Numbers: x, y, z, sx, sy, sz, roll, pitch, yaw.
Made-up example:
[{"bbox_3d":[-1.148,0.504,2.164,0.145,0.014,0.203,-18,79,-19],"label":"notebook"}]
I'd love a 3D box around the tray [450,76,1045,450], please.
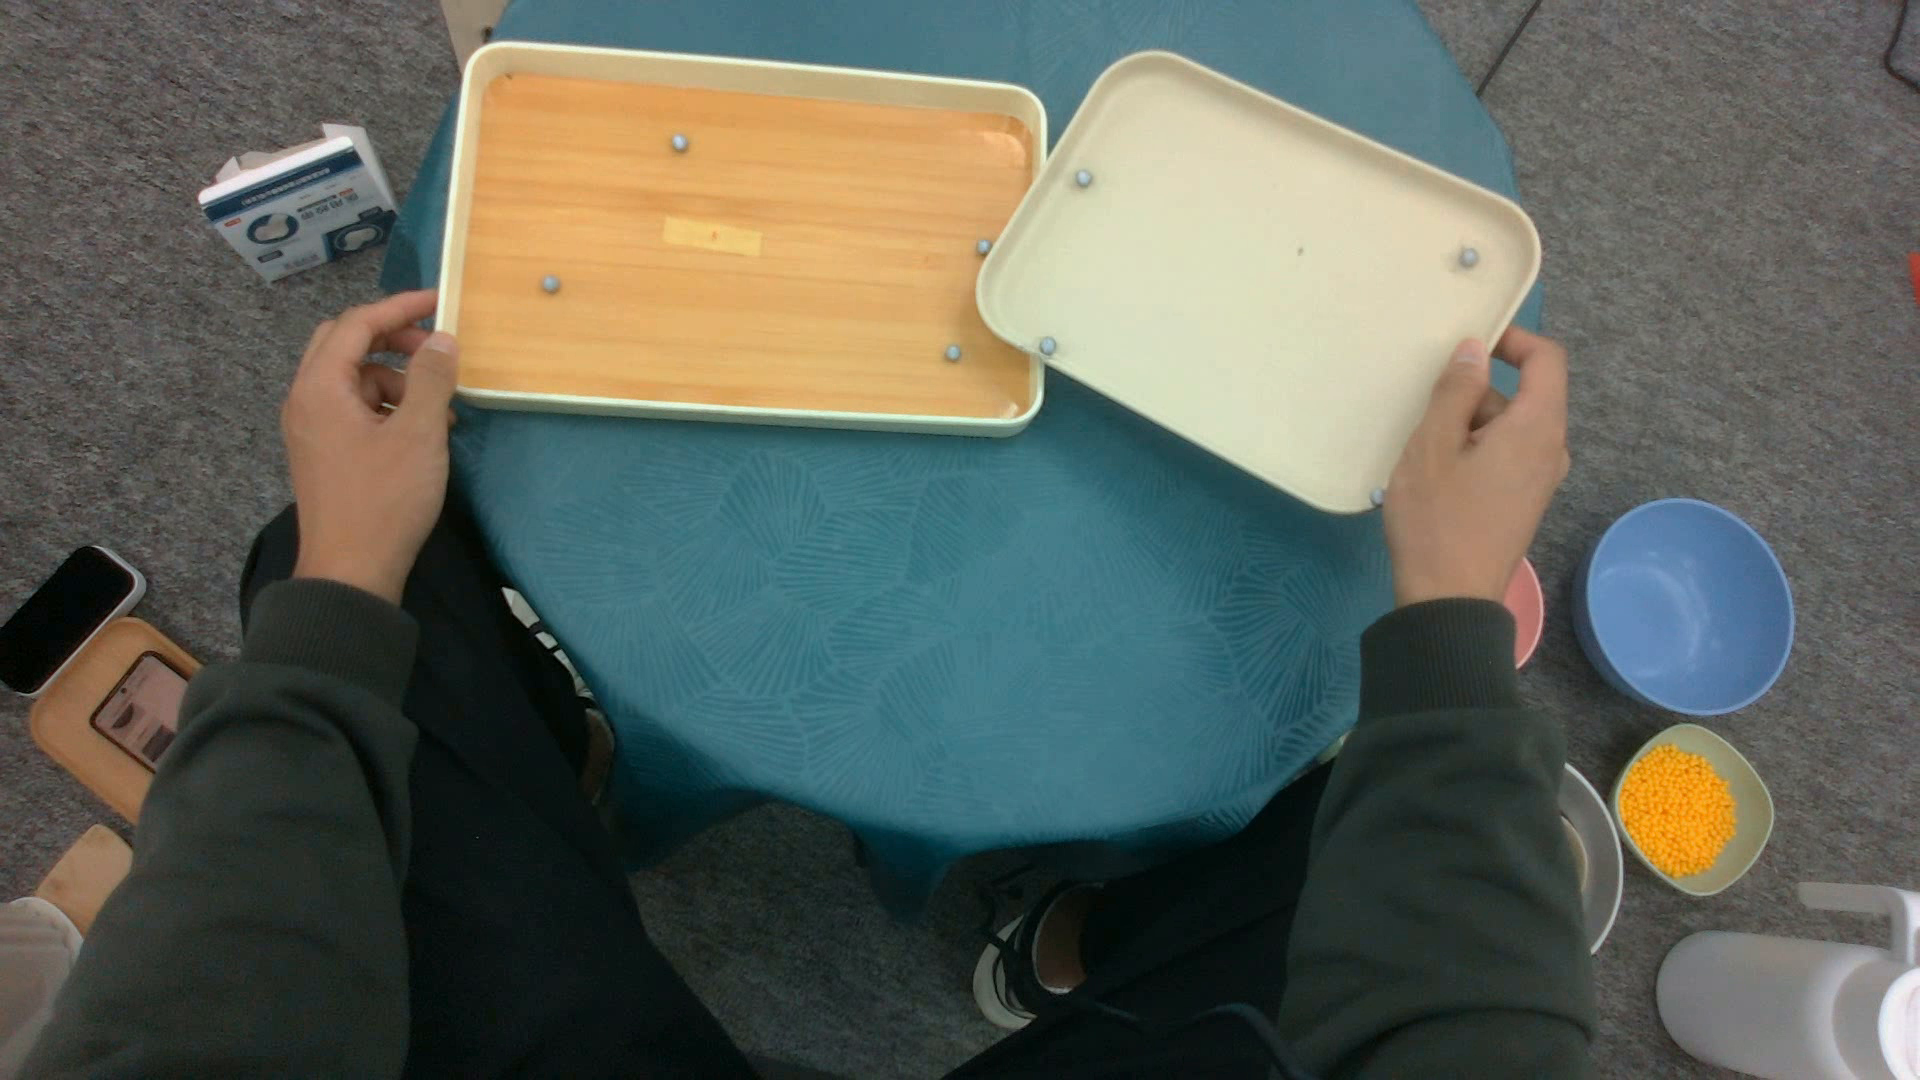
[{"bbox_3d":[-0.105,-0.145,0.727,0.300,0.027,0.192,2,77,-5],"label":"tray"}]

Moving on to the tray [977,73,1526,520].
[{"bbox_3d":[0.139,-0.126,0.689,0.239,0.017,0.171,30,87,19],"label":"tray"}]
